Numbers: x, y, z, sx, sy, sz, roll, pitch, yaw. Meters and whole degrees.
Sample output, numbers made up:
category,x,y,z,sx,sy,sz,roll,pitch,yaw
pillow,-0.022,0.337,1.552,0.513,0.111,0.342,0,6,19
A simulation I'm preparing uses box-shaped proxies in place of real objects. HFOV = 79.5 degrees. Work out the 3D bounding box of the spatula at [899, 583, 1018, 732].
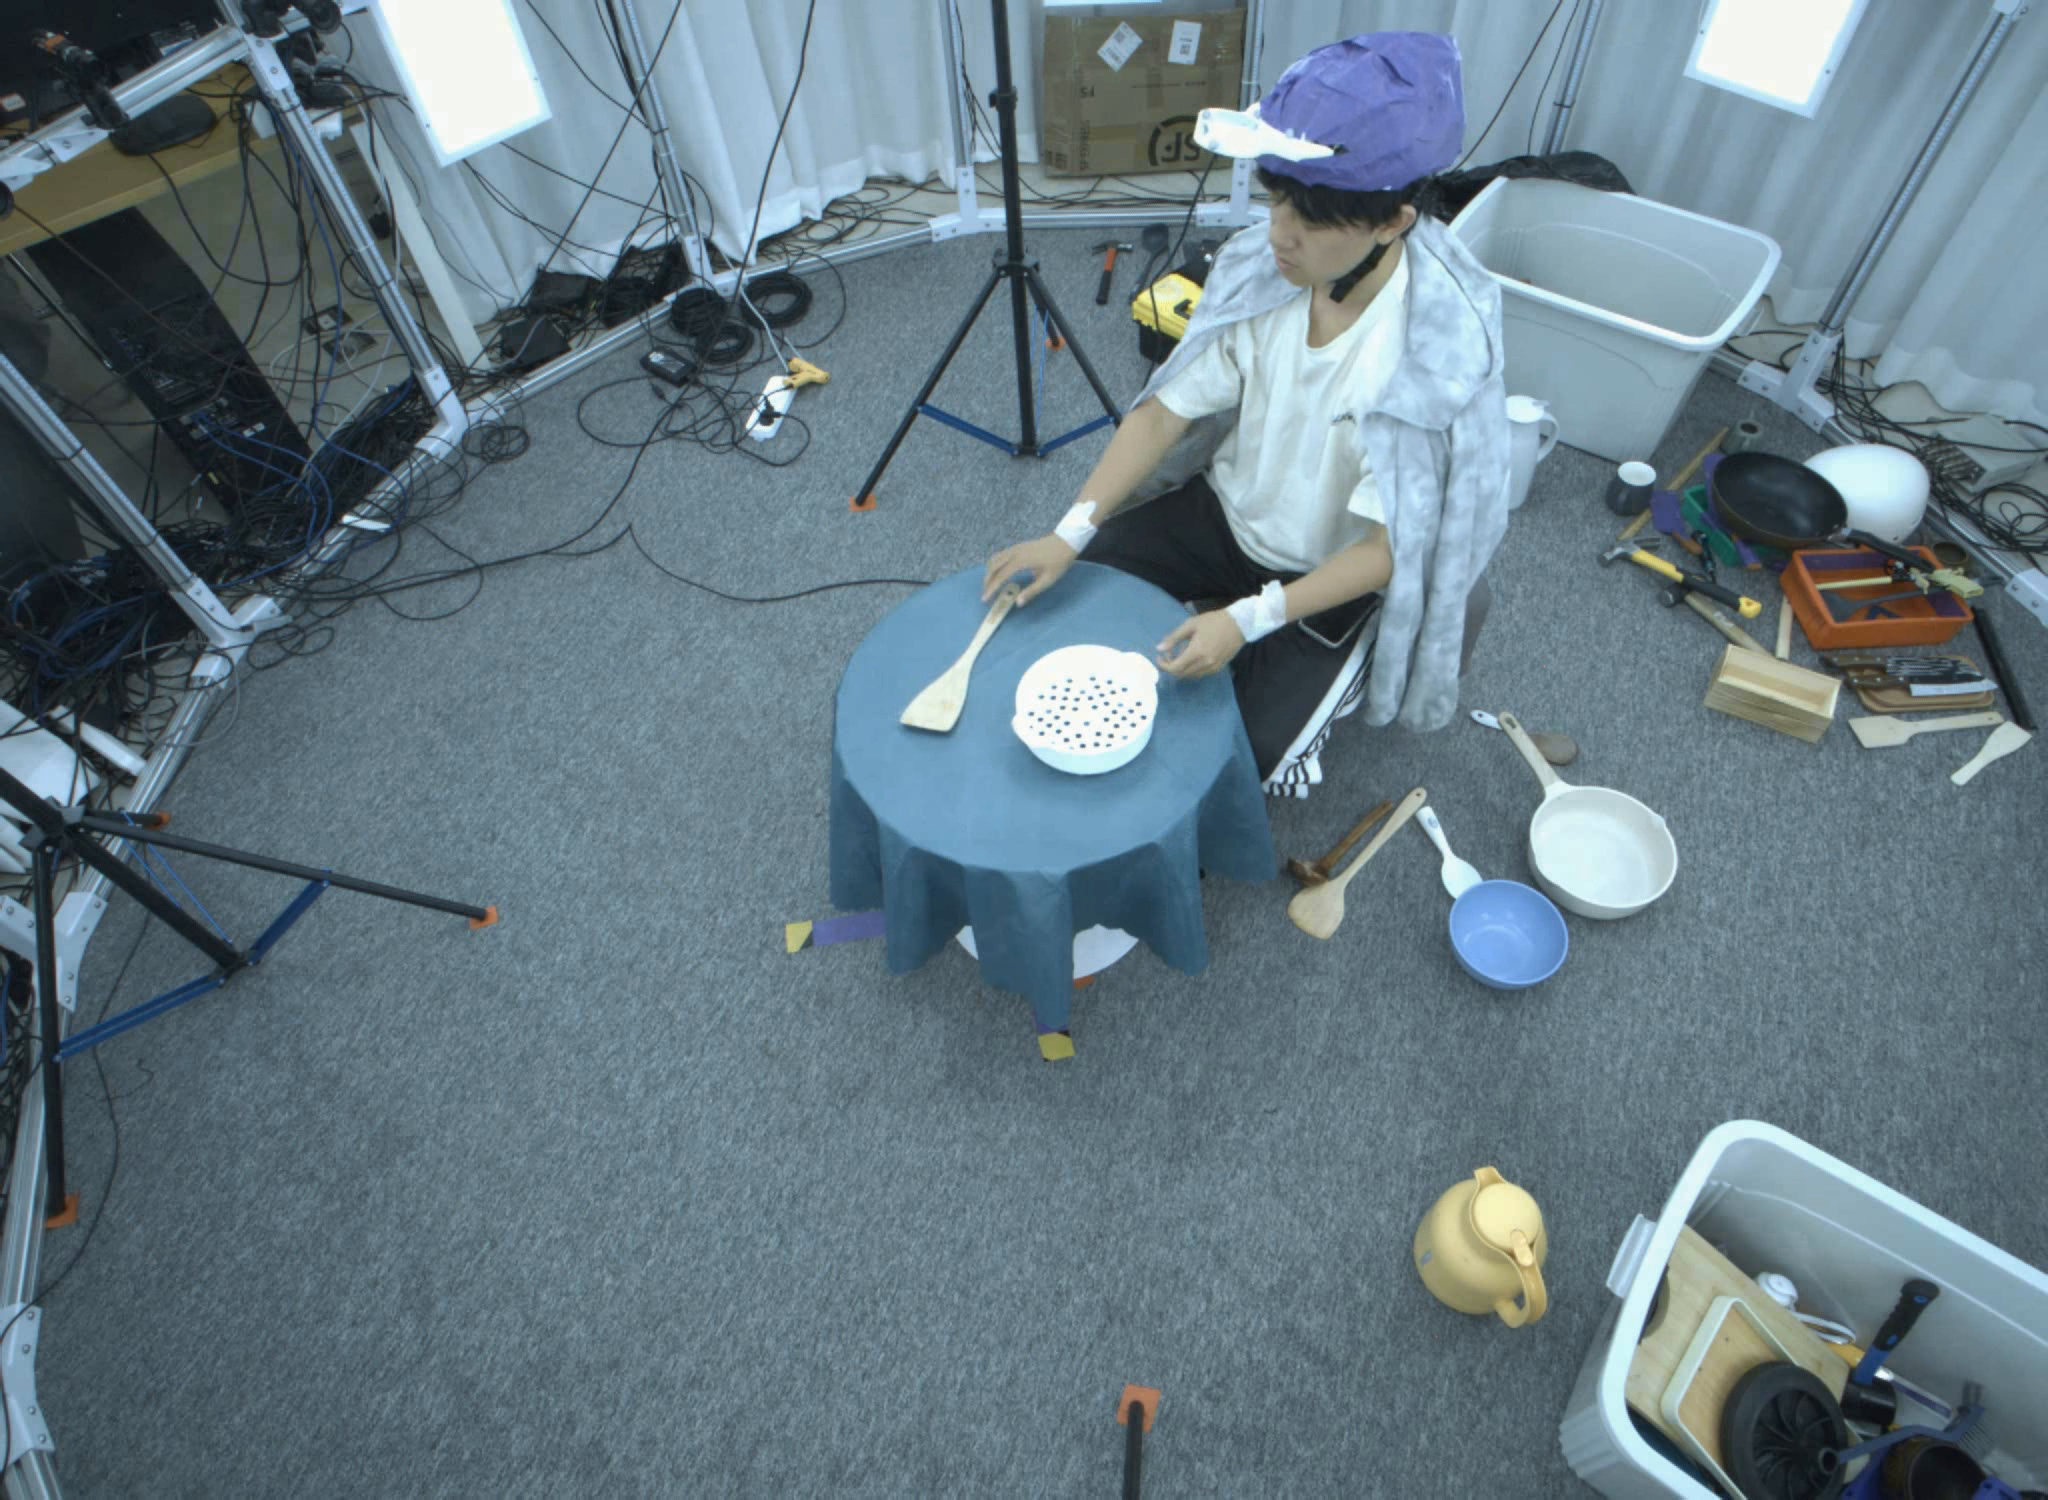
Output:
category,x,y,z,sx,sy,sz,roll,pitch,yaw
spatula,-0.085,-0.147,1.886,0.079,0.017,0.328,20,58,14

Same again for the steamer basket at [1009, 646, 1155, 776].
category,x,y,z,sx,sy,sz,roll,pitch,yaw
steamer basket,0.085,-0.055,1.785,0.232,0.070,0.198,-29,60,-18
